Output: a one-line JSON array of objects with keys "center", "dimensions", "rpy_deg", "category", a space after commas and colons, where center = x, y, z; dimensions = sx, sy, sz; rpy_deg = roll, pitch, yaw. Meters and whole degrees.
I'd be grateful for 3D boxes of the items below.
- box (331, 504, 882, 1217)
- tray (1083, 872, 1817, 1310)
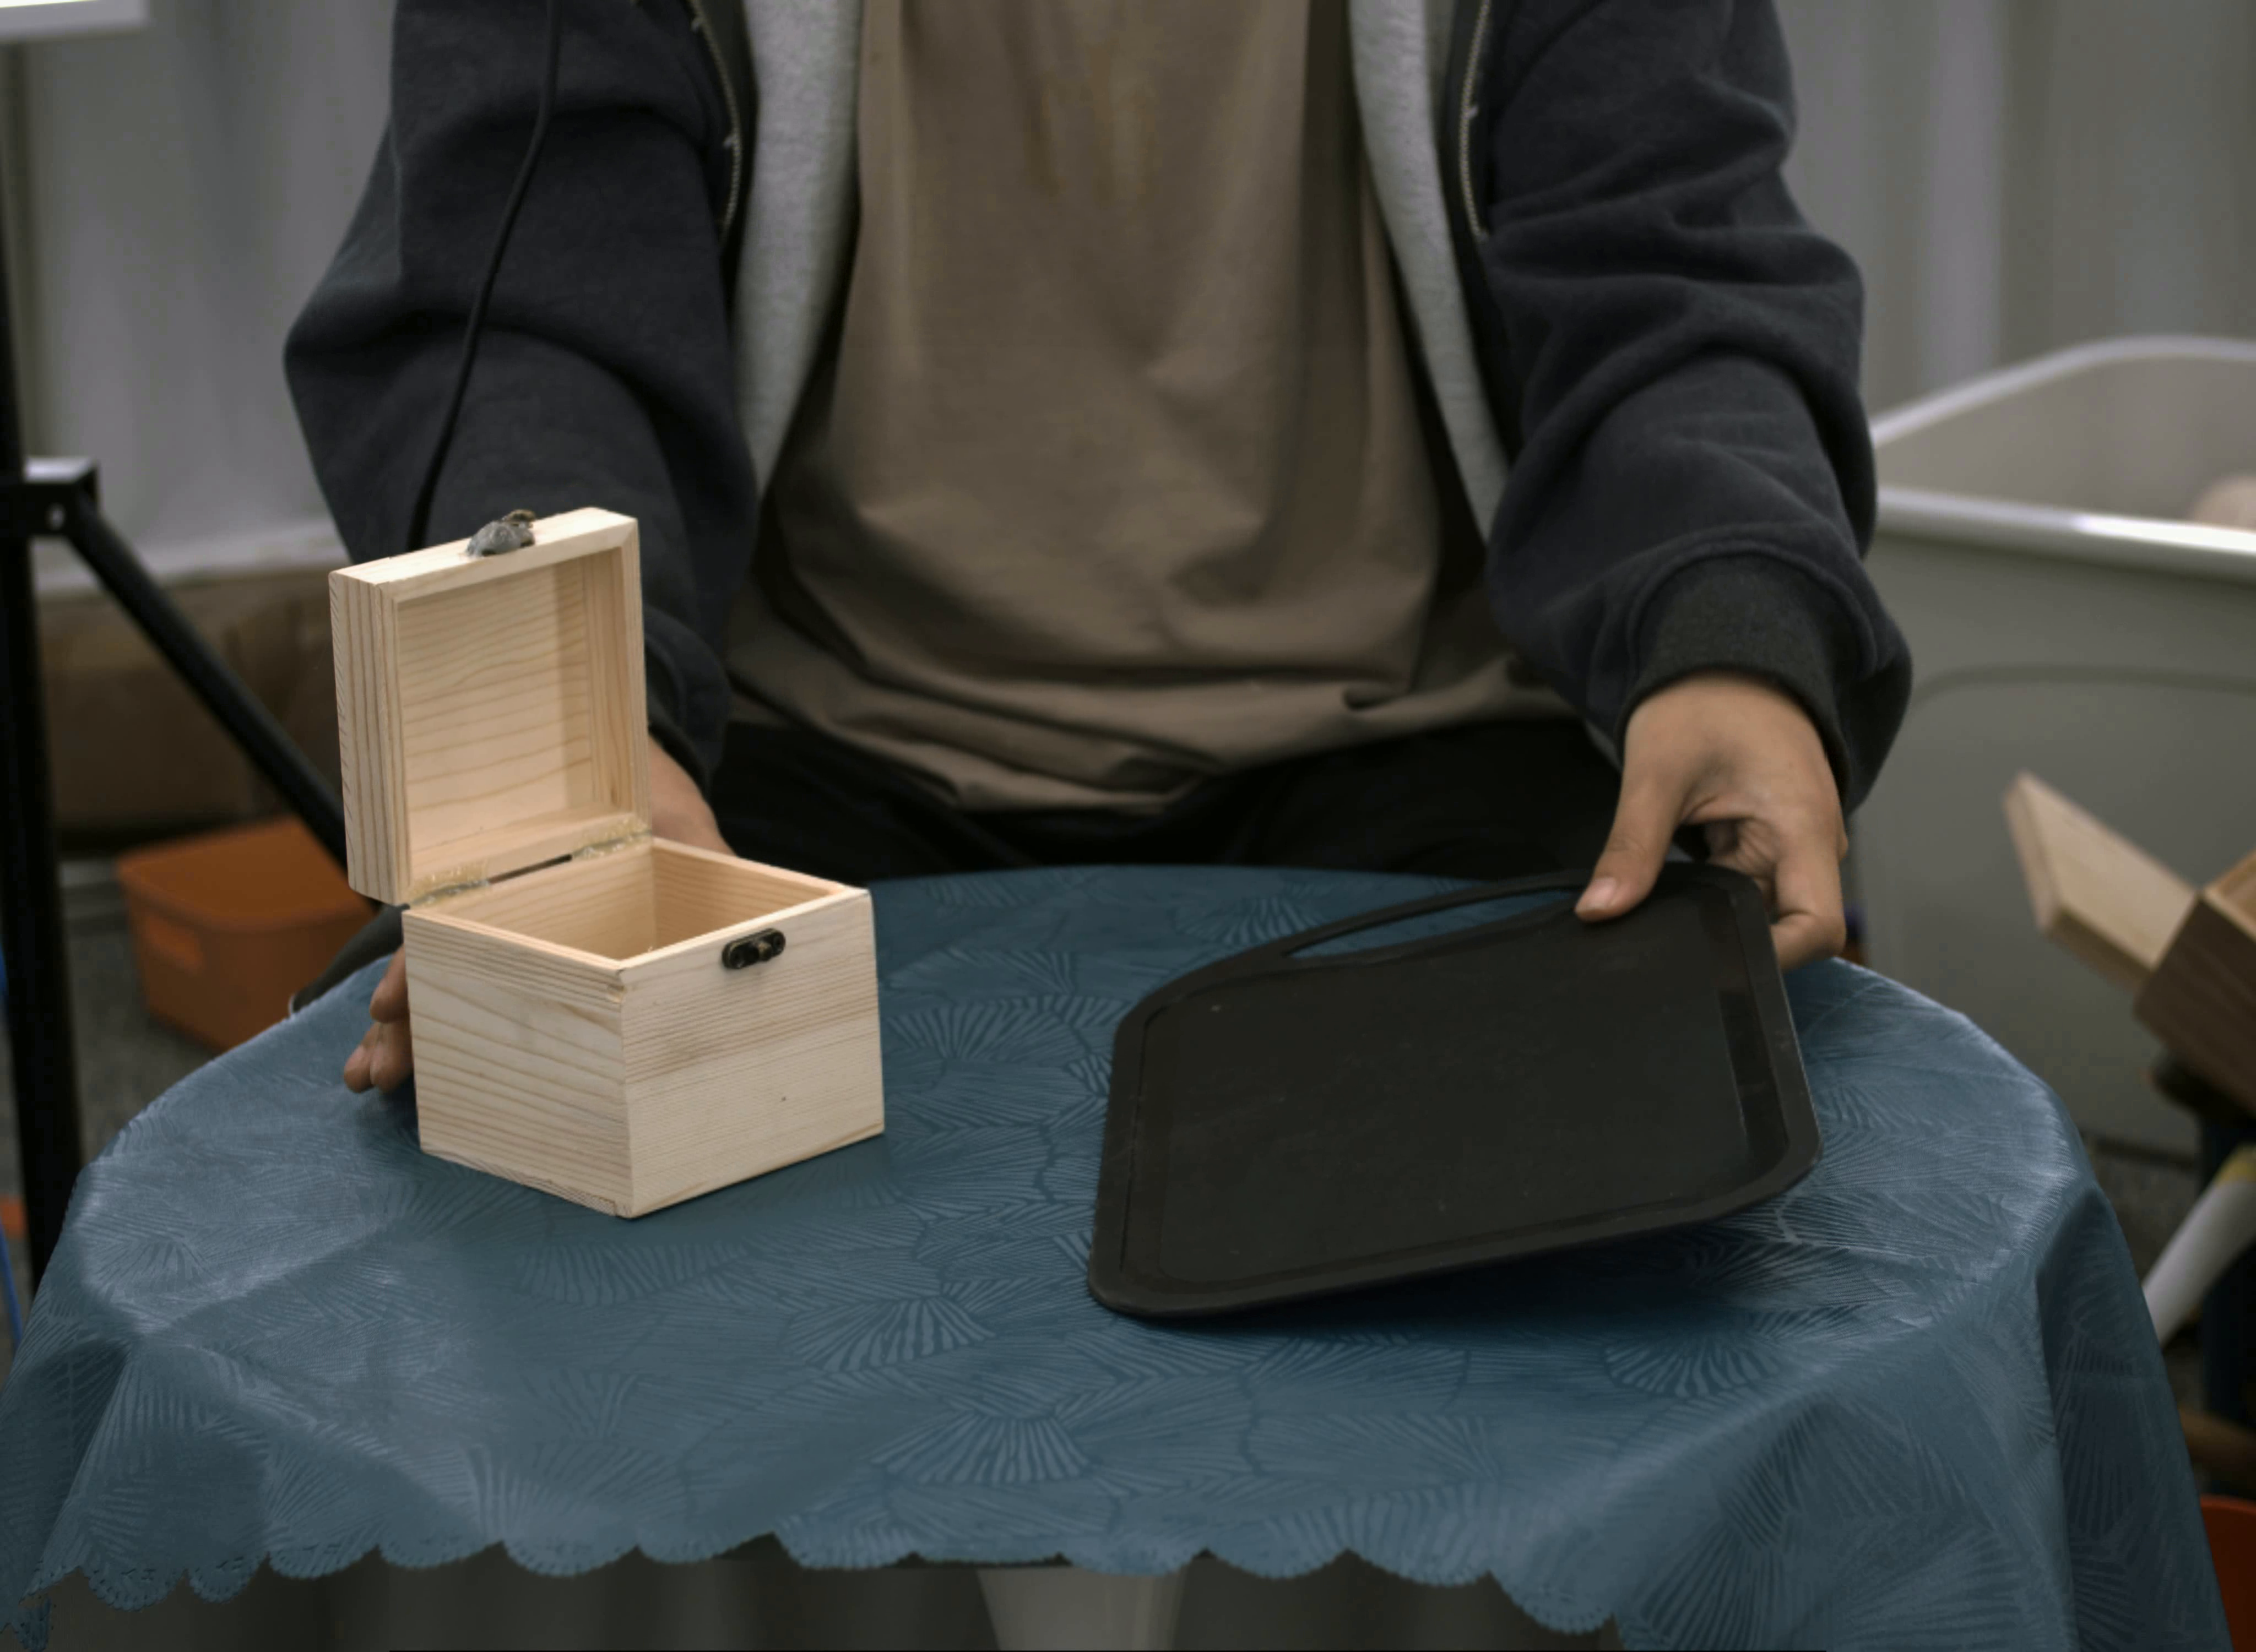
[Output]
[{"center": [-0.155, 0.007, 1.607], "dimensions": [0.100, 0.184, 0.137], "rpy_deg": [-17, 20, -42], "category": "box"}, {"center": [0.094, 0.072, 1.588], "dimensions": [0.211, 0.010, 0.326], "rpy_deg": [-12, 16, 7], "category": "tray"}]
